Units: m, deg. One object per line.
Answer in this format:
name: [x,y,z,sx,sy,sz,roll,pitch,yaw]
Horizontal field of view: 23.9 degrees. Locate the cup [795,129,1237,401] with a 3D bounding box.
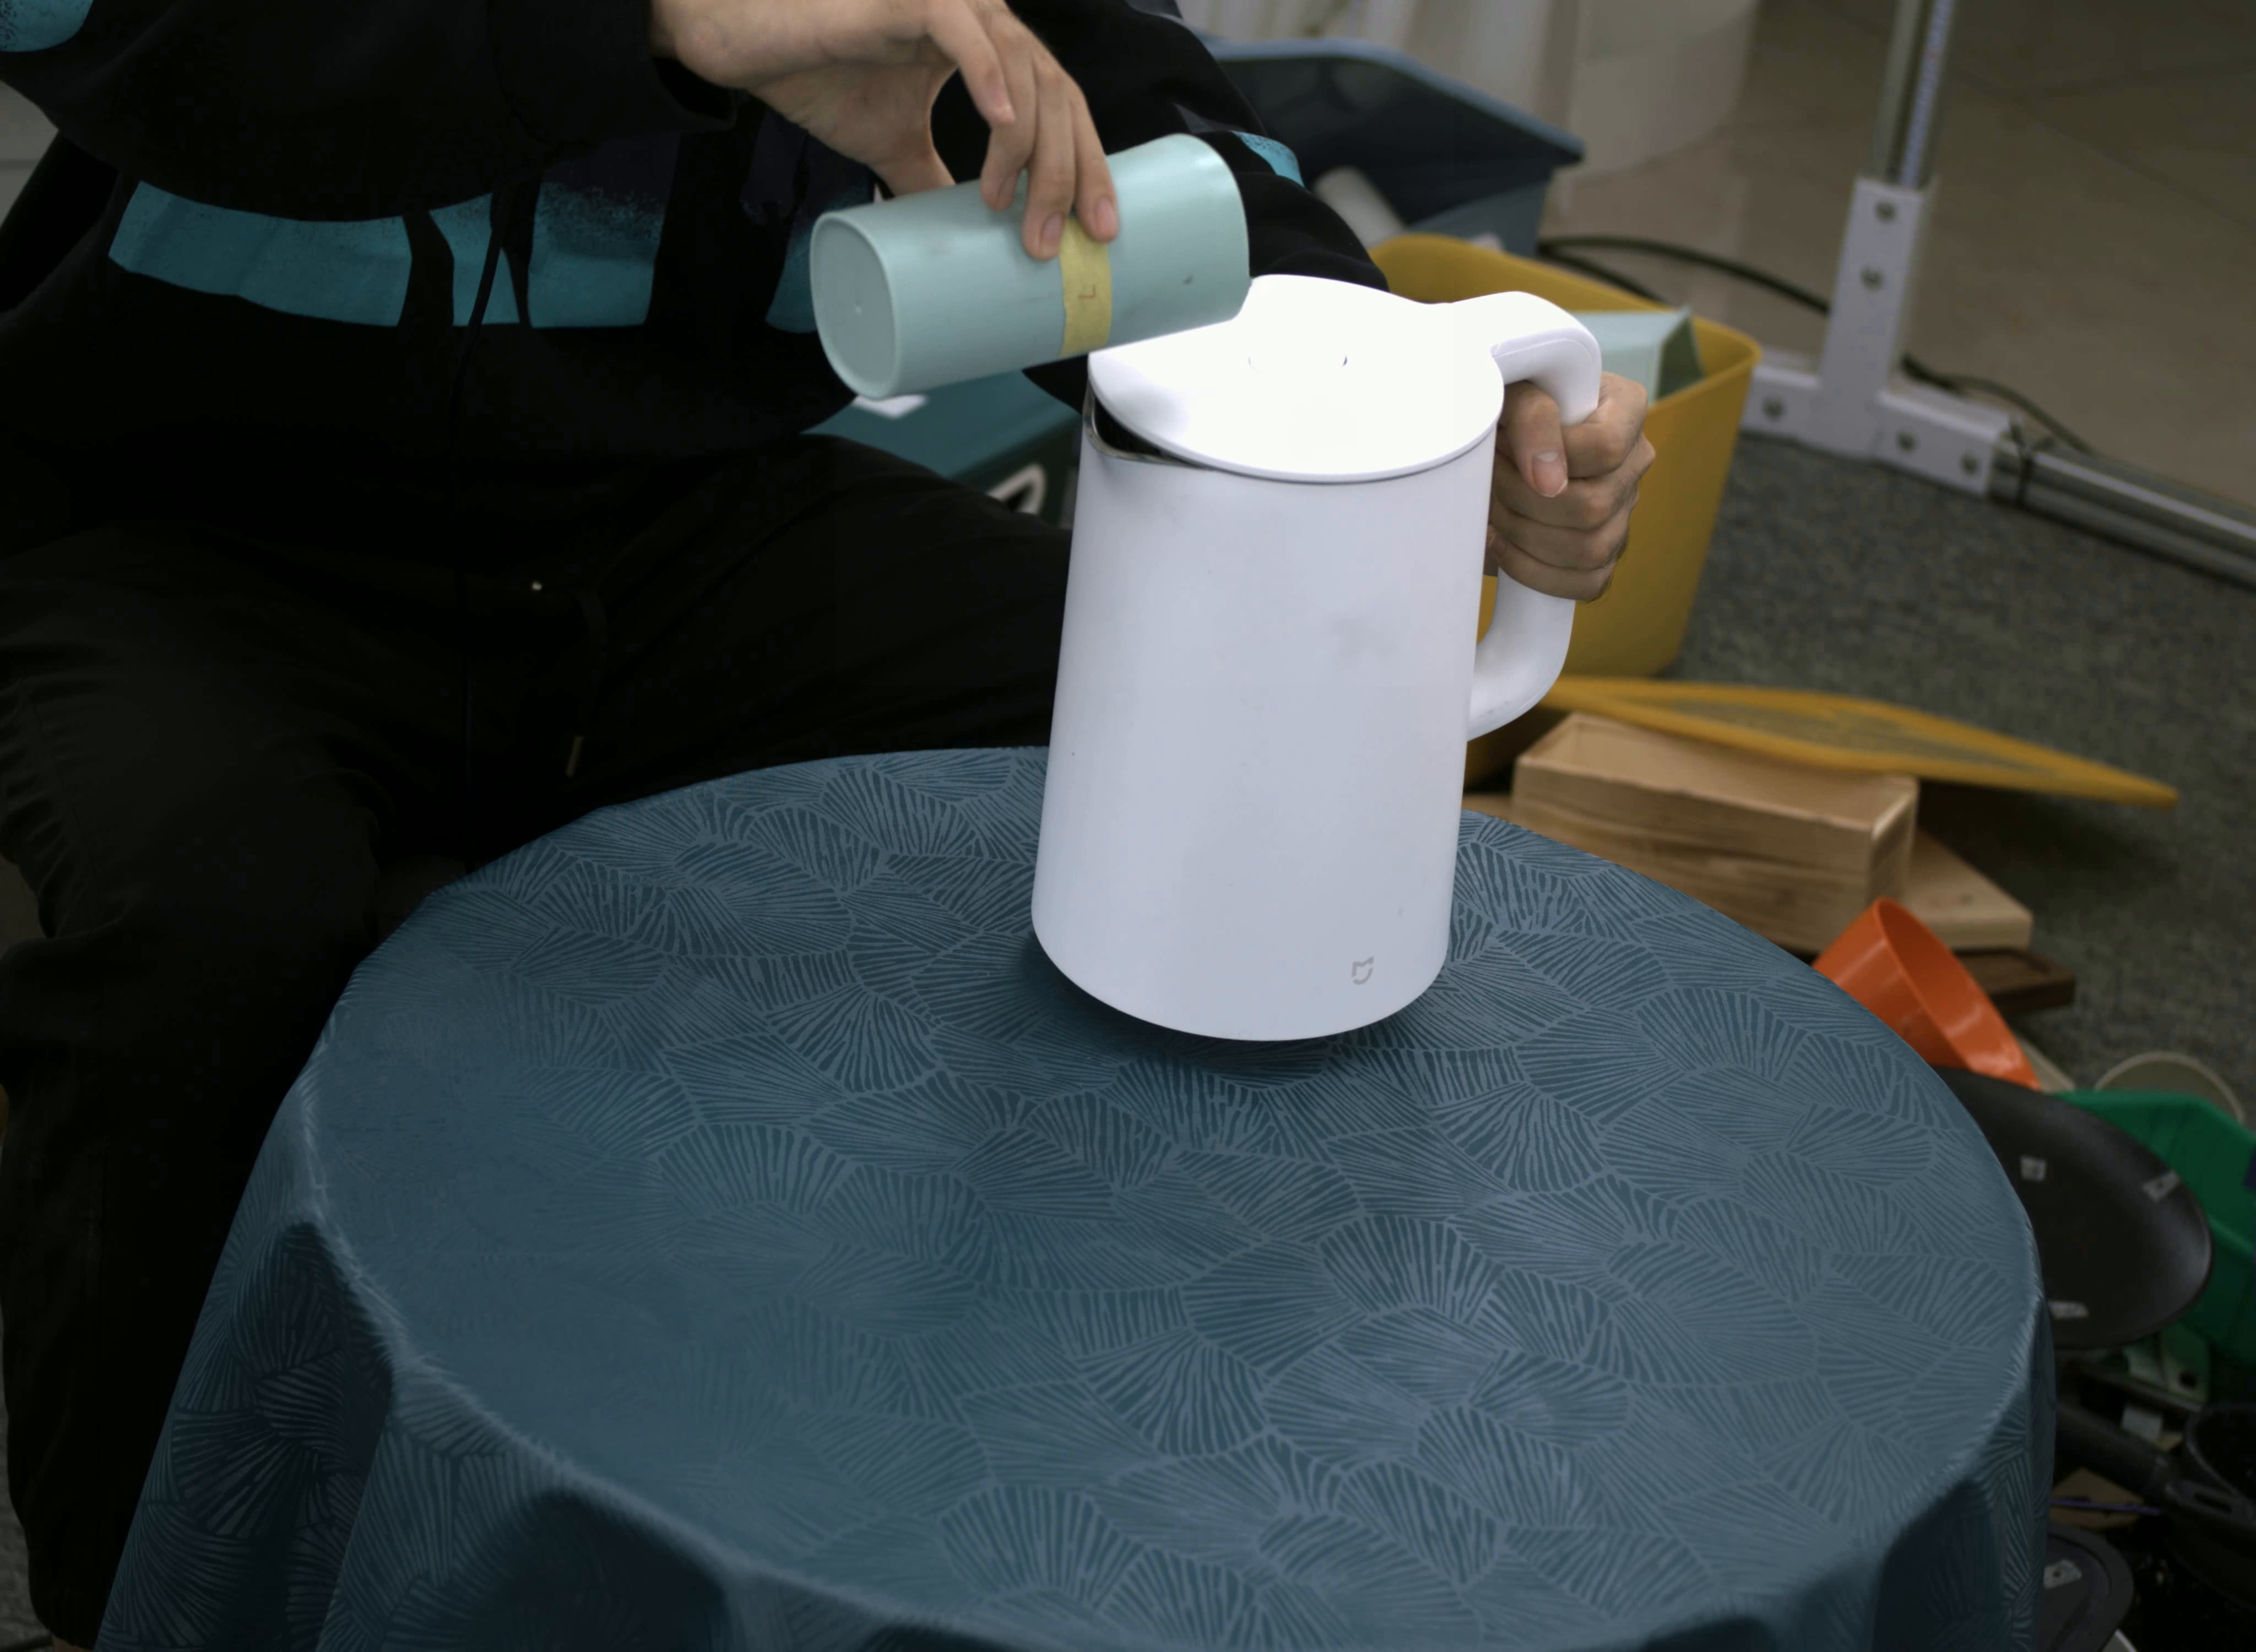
cup: [-0.037,-0.183,1.735,0.131,0.066,0.067,-16,34,-23]

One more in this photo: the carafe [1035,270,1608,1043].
carafe: [0.072,-0.067,1.886,0.212,0.239,0.153,-17,39,-29]
